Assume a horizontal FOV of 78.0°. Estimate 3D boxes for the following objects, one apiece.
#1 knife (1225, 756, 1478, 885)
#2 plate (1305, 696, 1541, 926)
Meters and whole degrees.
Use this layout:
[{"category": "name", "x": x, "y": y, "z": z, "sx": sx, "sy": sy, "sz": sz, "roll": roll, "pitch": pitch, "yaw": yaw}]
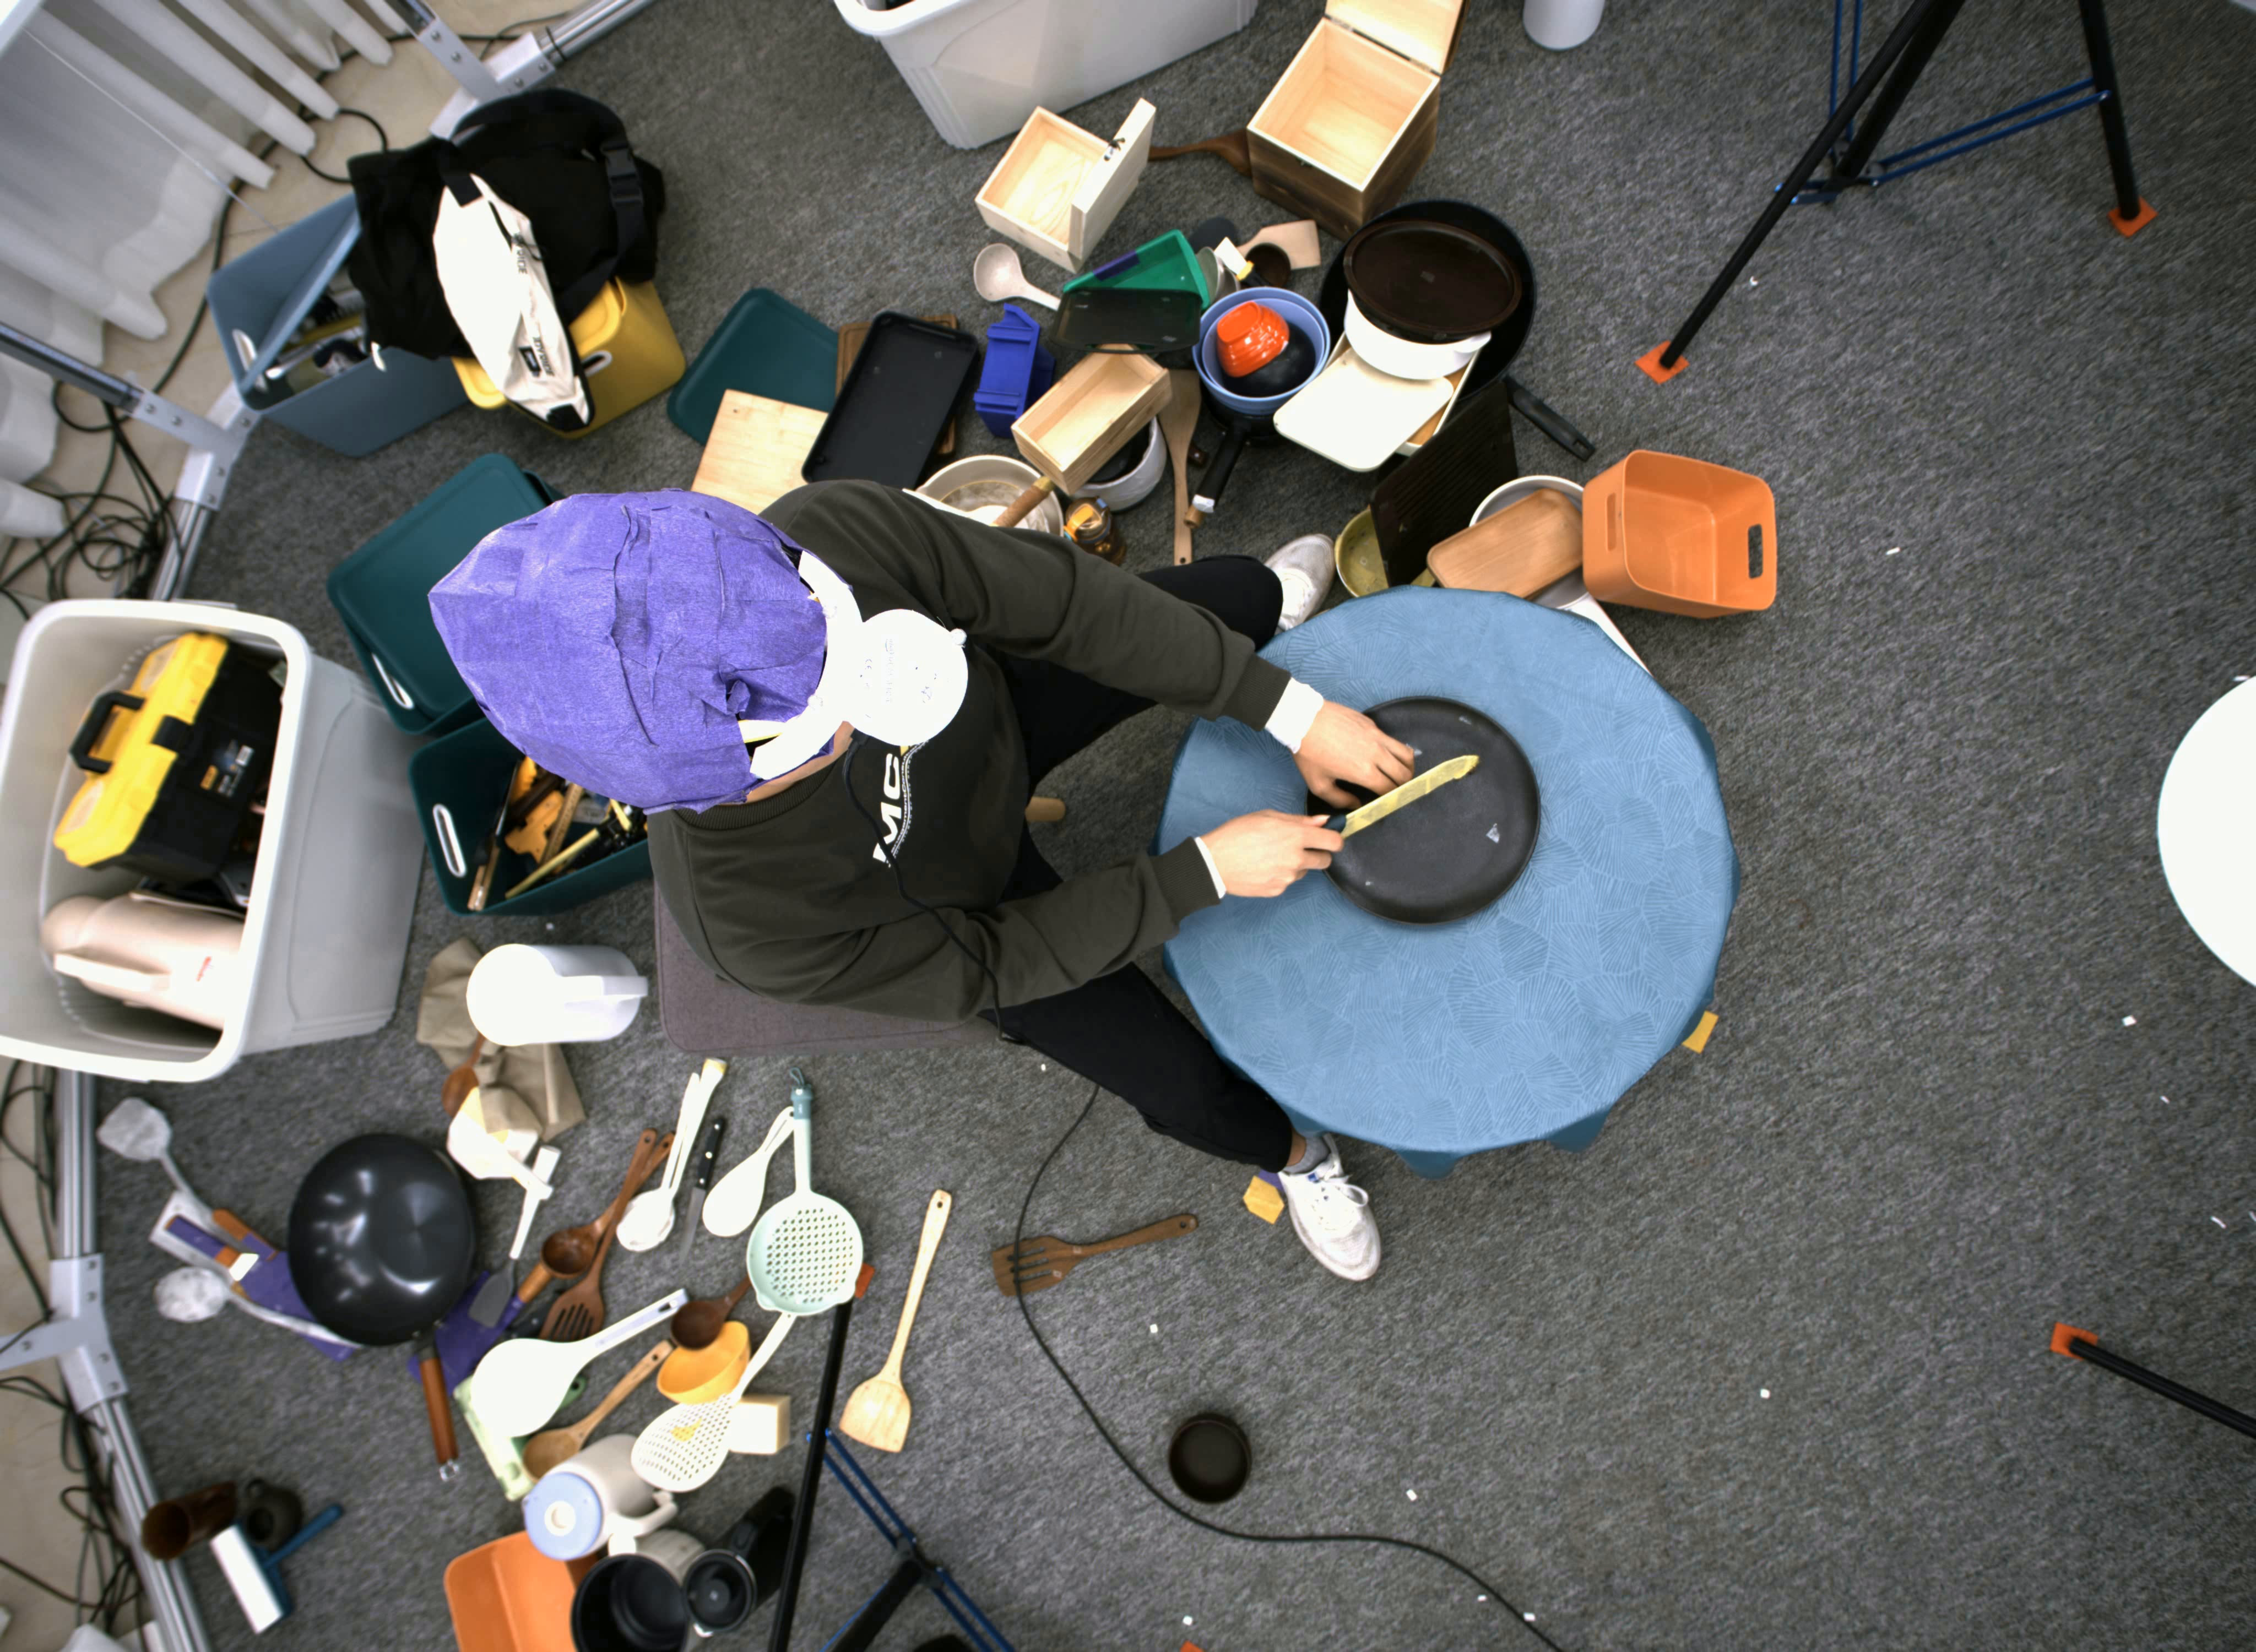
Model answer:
[{"category": "knife", "x": 0.232, "y": -0.008, "z": 1.420, "sx": 0.290, "sy": 0.082, "sz": 0.027, "roll": -26, "pitch": 69, "yaw": 3}, {"category": "plate", "x": 0.308, "y": -0.017, "z": 1.446, "sx": 0.245, "sy": 0.023, "sz": 0.243, "roll": -1, "pitch": 87, "yaw": 11}]
